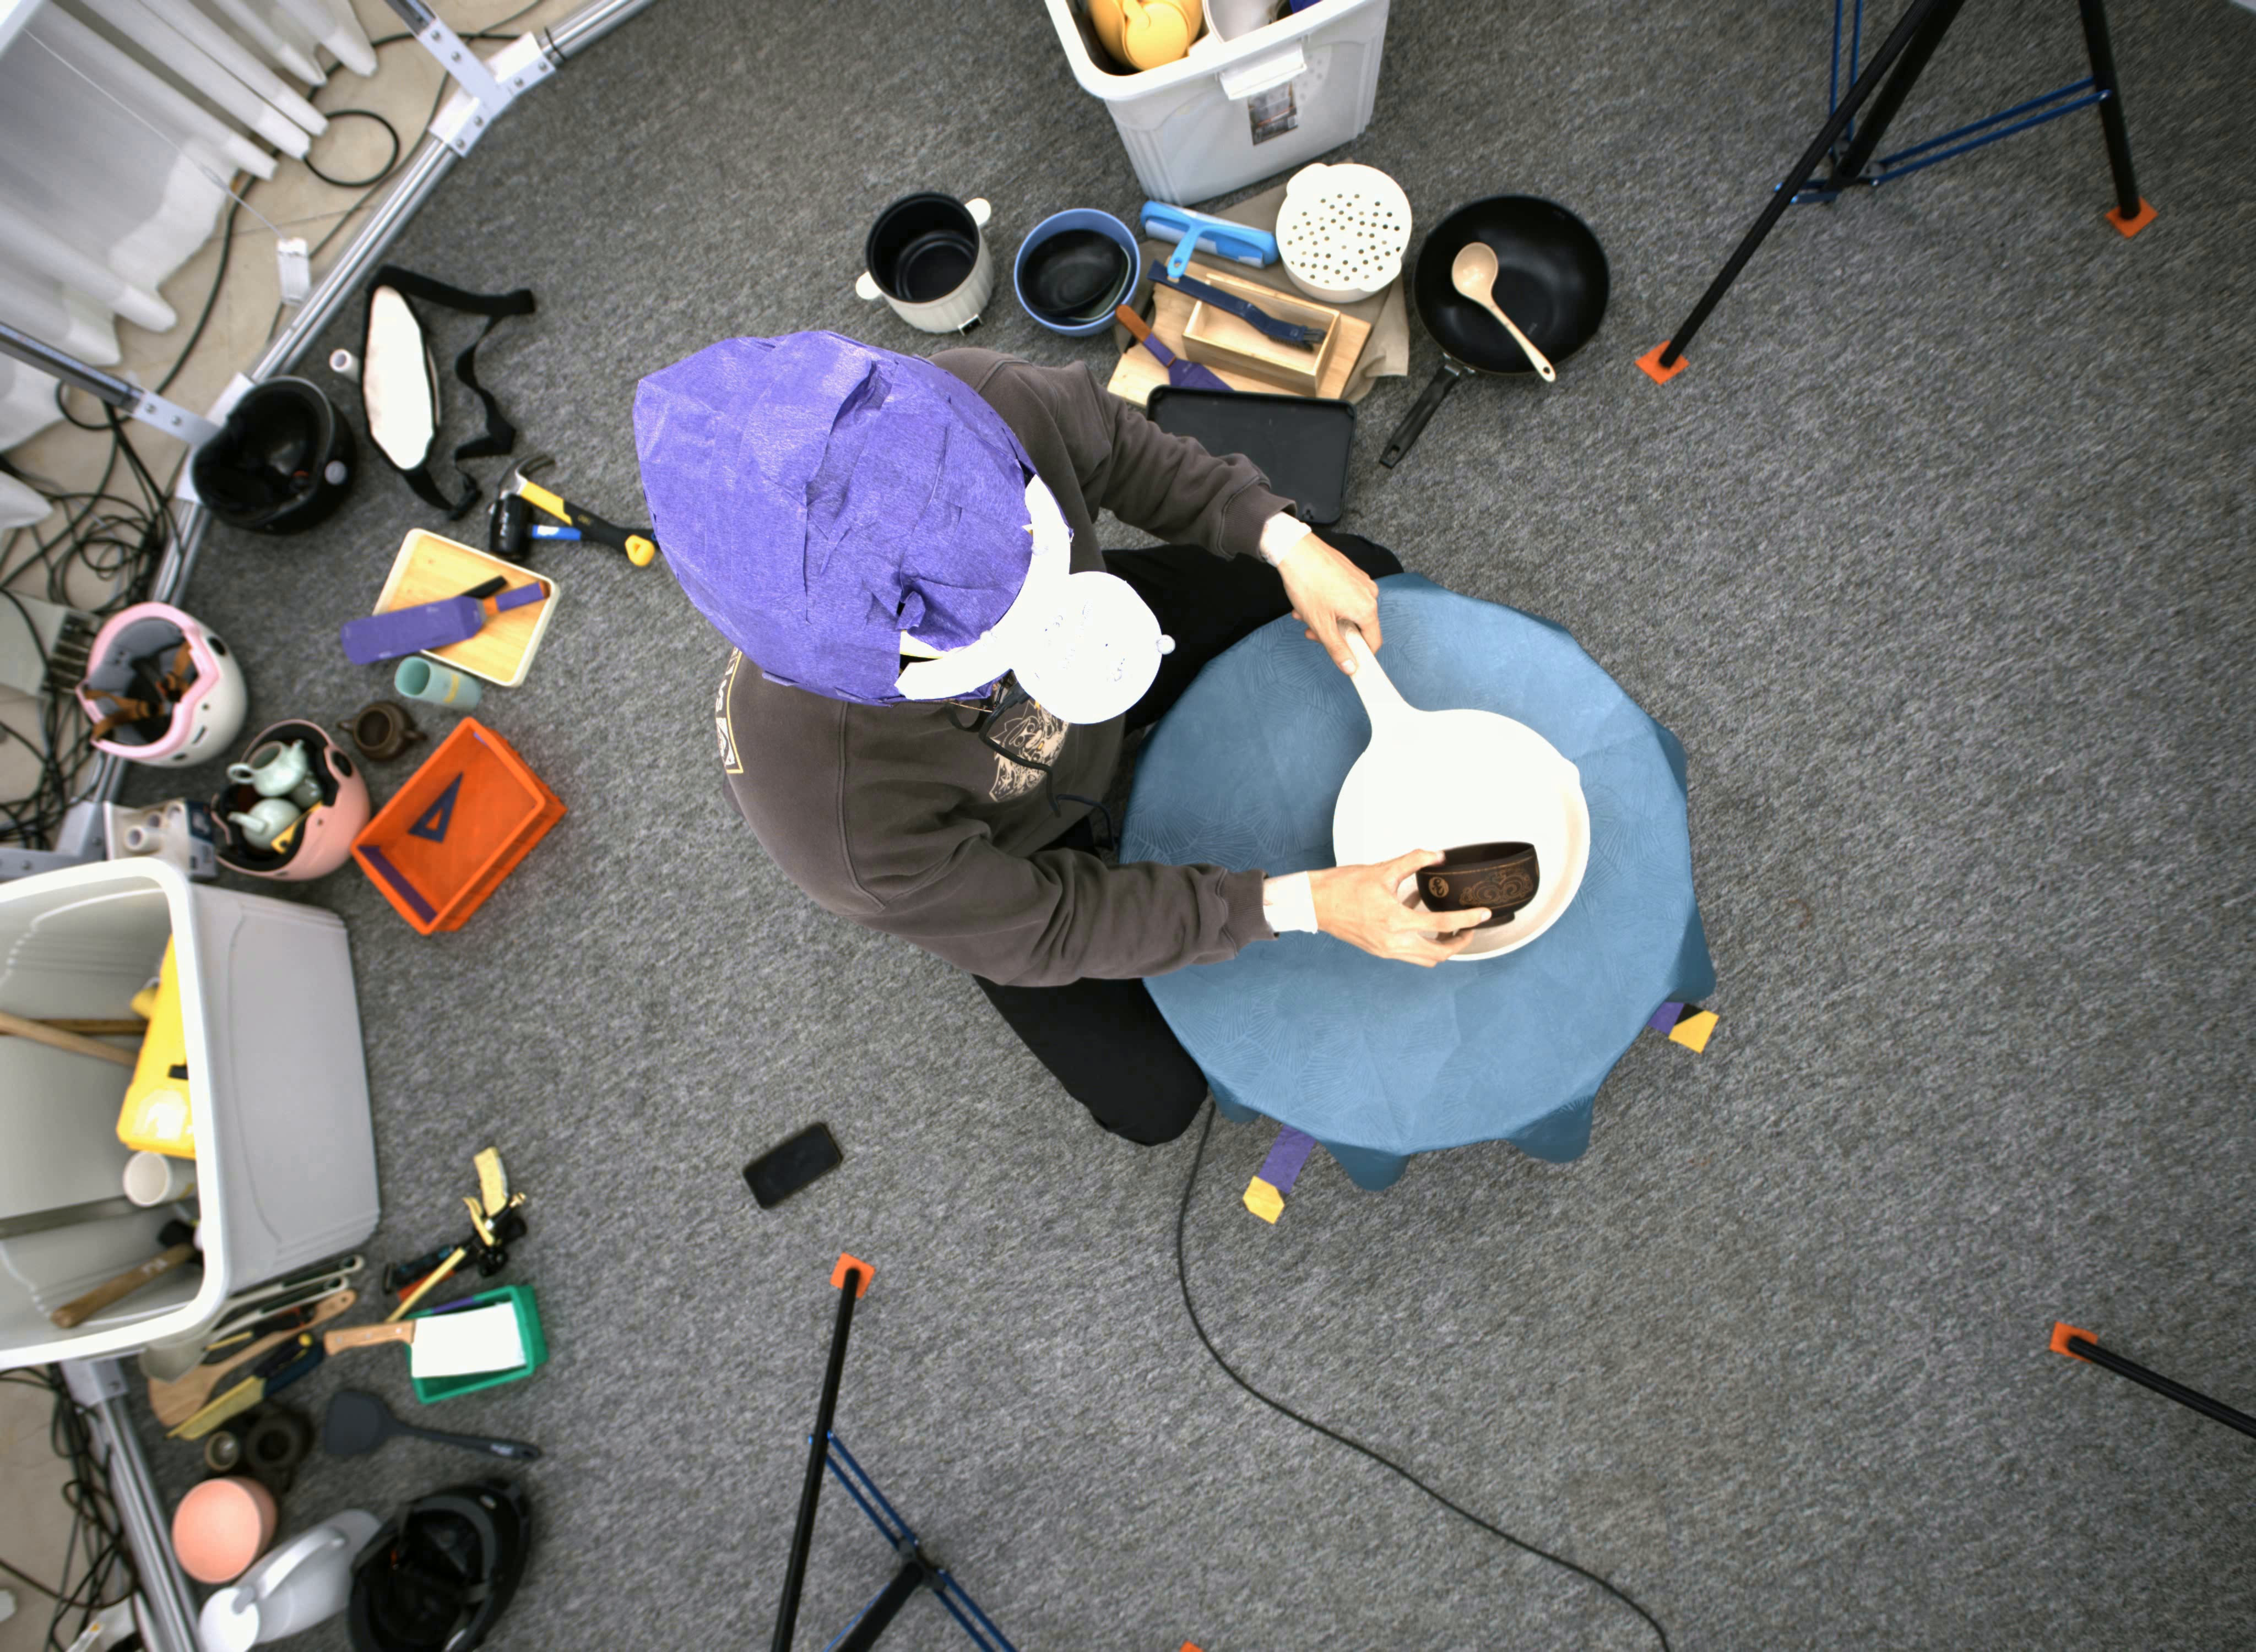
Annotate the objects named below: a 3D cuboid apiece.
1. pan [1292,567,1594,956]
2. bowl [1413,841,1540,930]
[{"bbox_3d":[0.294,-0.074,1.410,0.265,0.102,0.432,-31,82,9],"label":"pan"},{"bbox_3d":[0.338,0.058,1.327,0.118,0.117,0.070,-11,96,9],"label":"bowl"}]
